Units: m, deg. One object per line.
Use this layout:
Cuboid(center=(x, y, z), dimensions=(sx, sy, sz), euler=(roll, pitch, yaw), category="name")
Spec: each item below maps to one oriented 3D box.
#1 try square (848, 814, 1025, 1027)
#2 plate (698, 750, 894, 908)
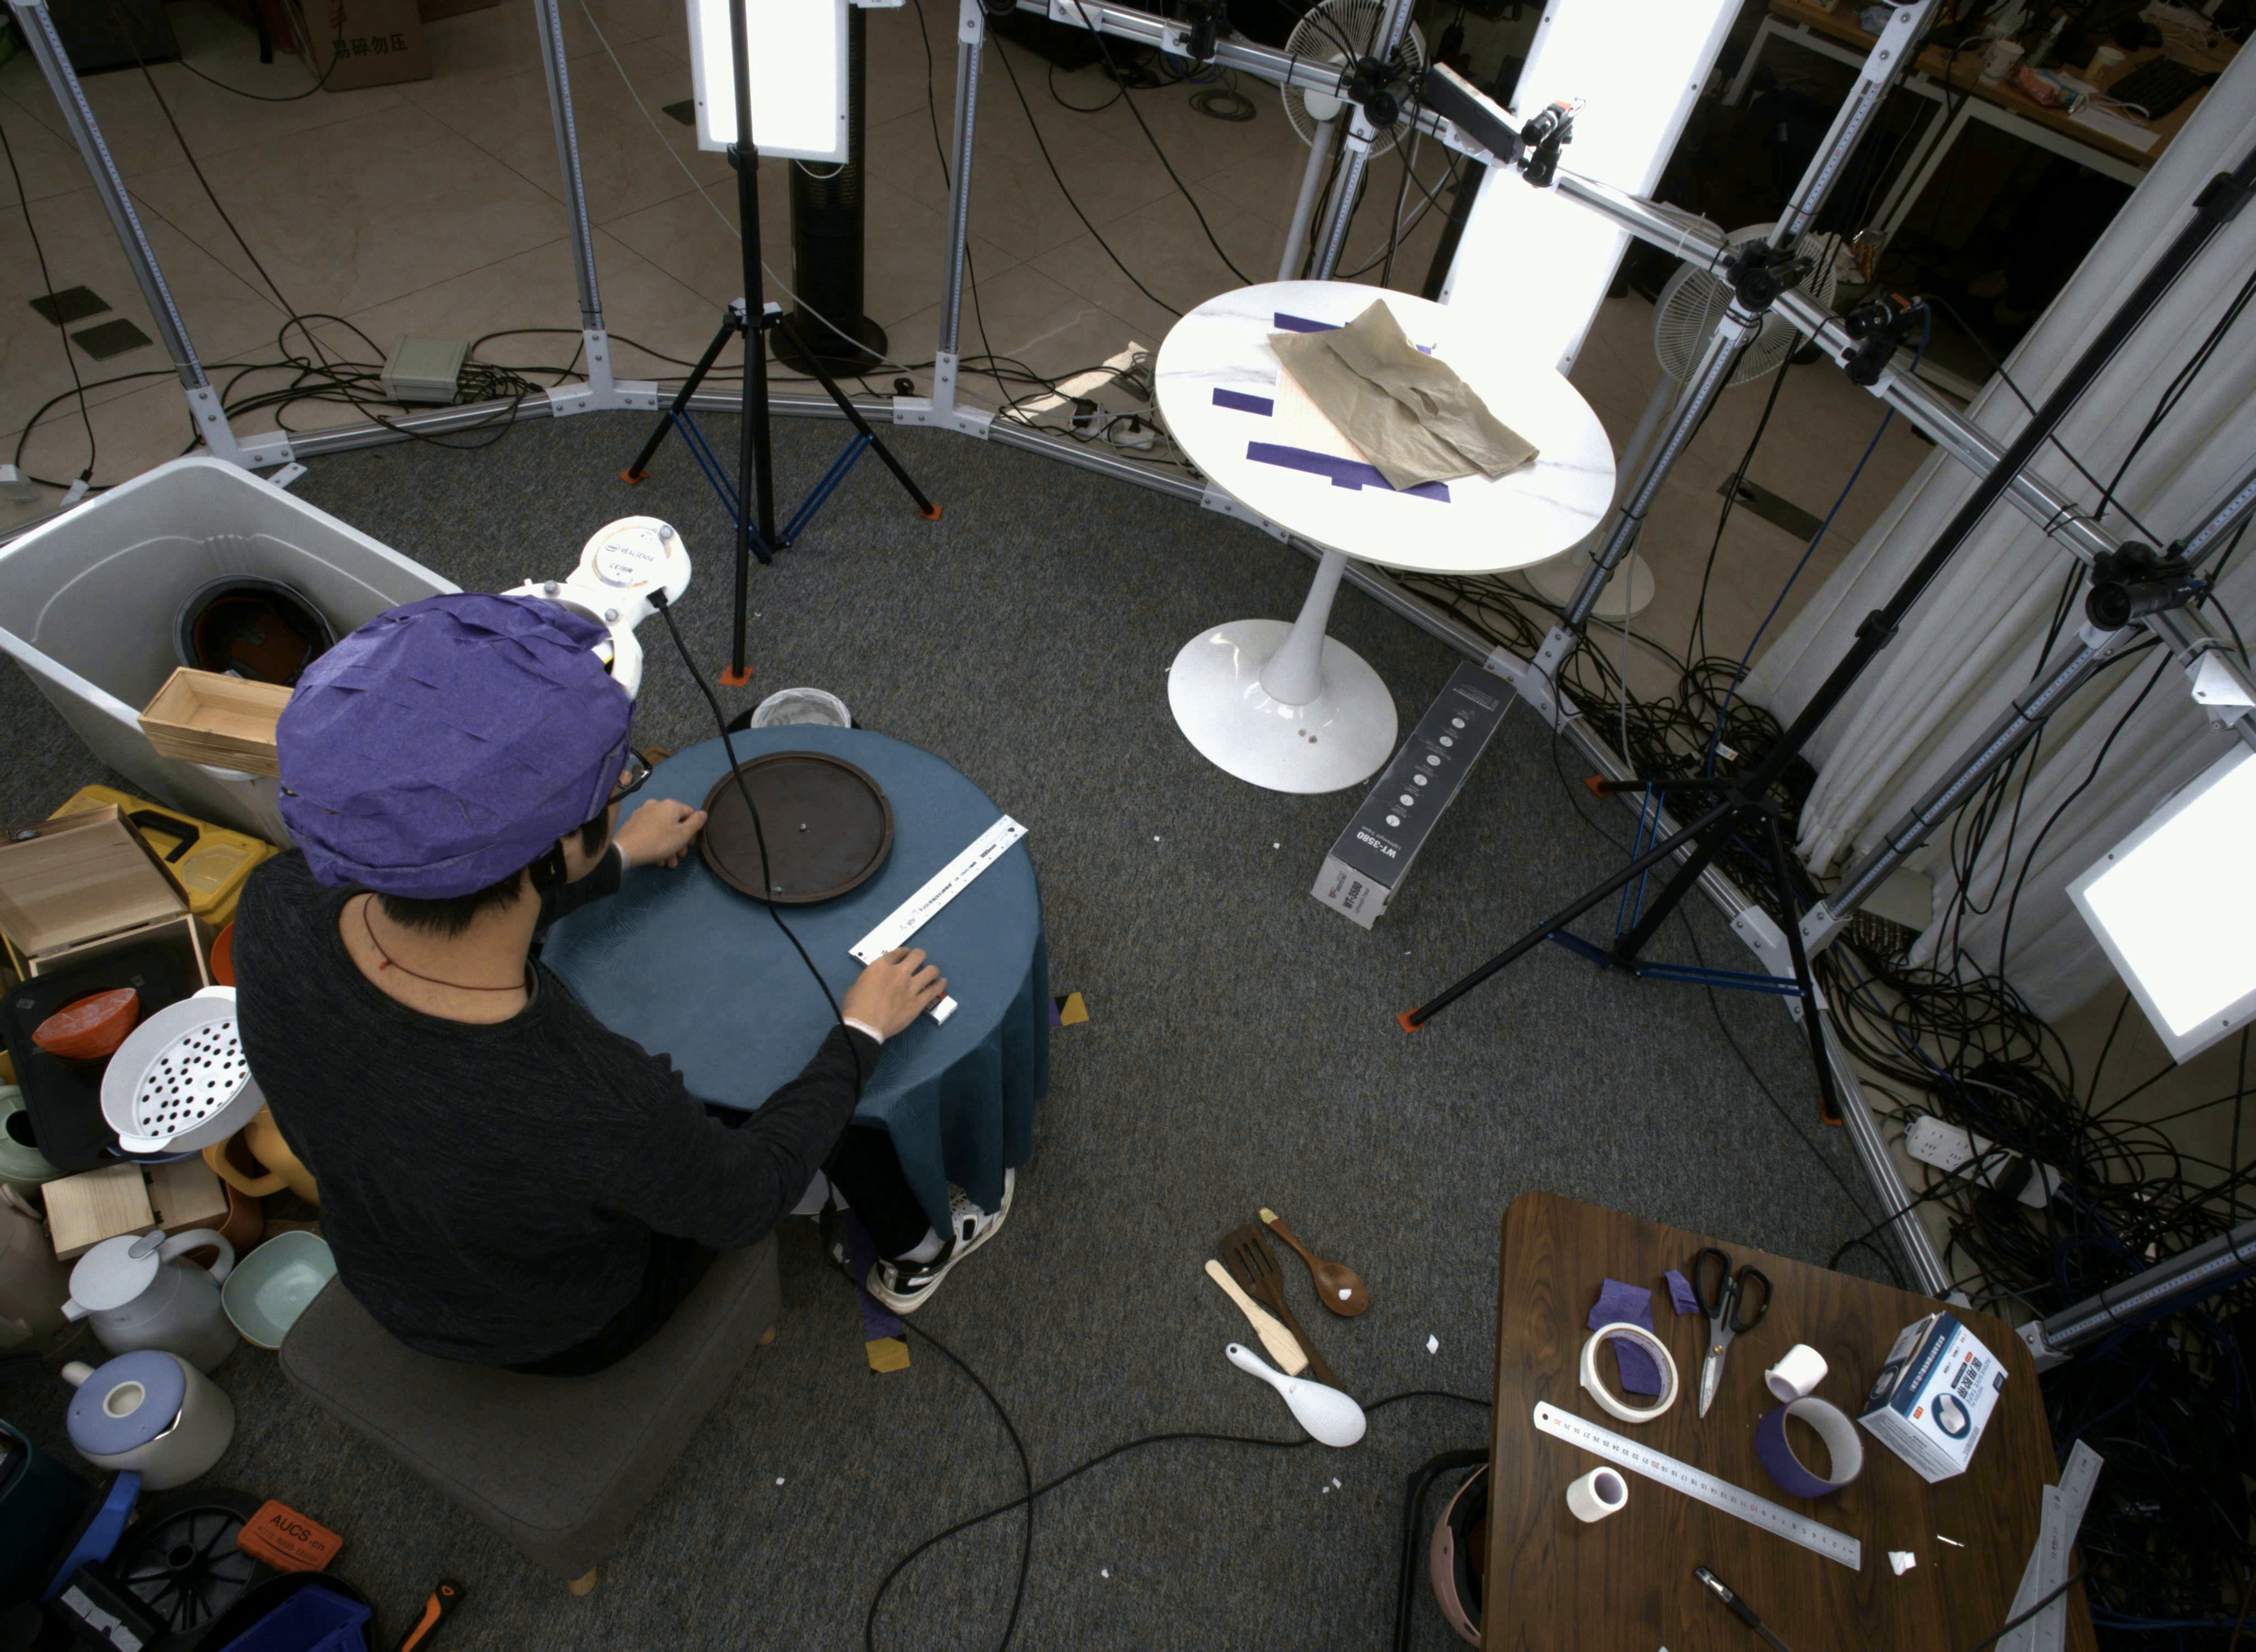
Cuboid(center=(-0.202, 0.112, 1.690), dimensions=(0.149, 0.016, 0.313), euler=(36, 52, 12), category="try square")
Cuboid(center=(-0.434, 0.001, 1.700), dimensions=(0.254, 0.029, 0.250), euler=(9, 51, -9), category="plate")
